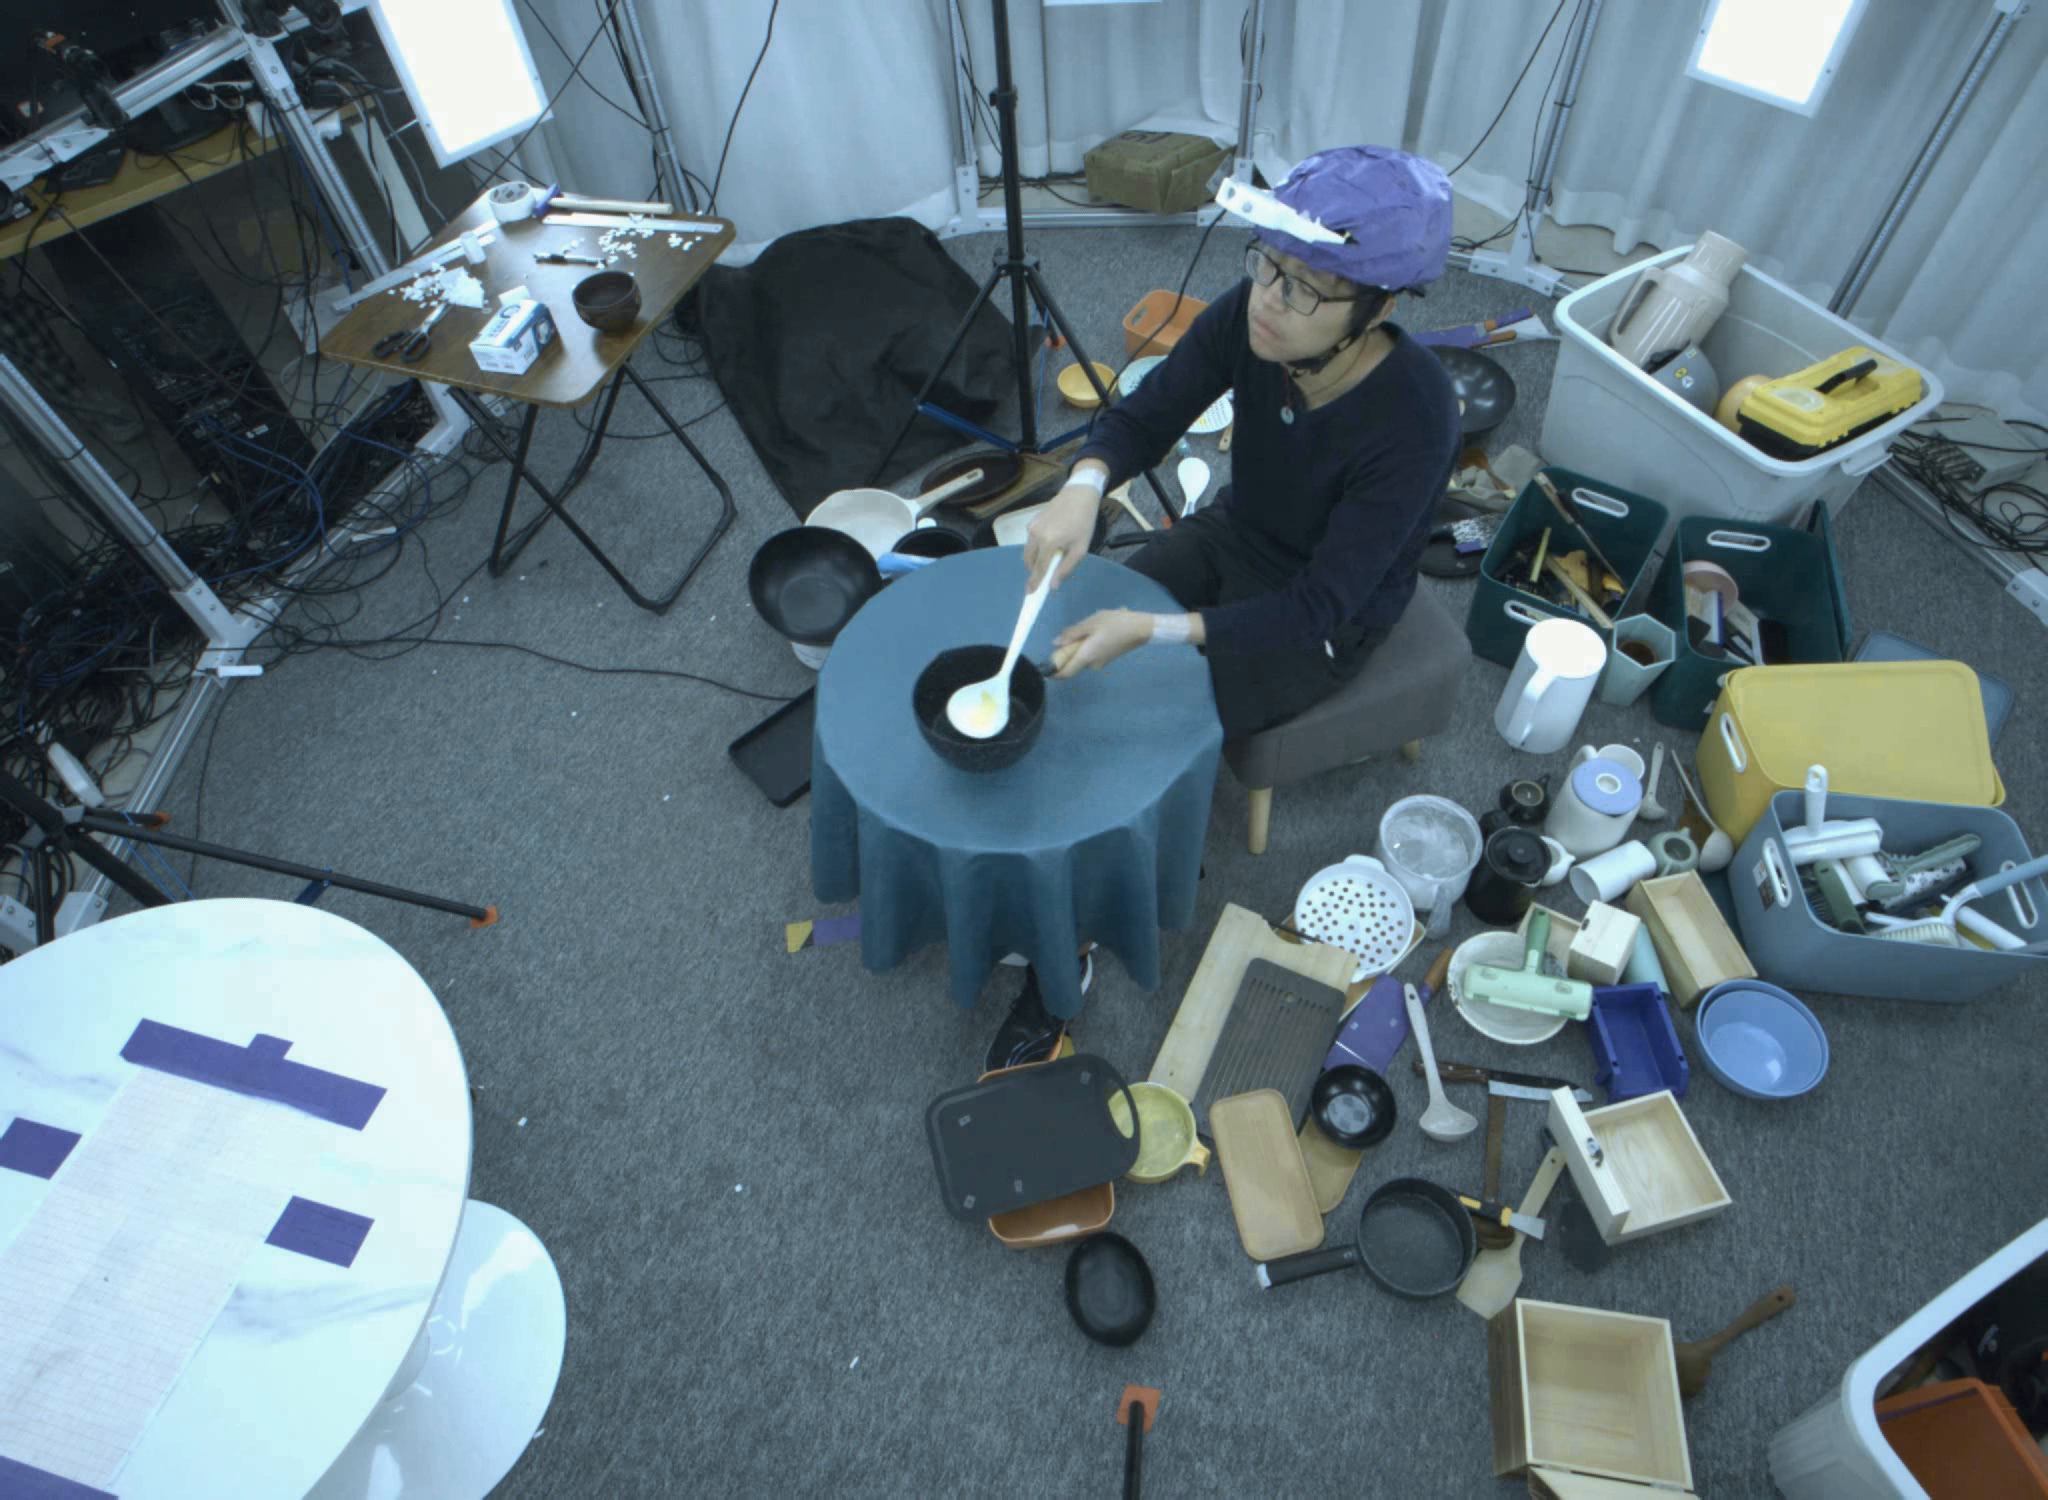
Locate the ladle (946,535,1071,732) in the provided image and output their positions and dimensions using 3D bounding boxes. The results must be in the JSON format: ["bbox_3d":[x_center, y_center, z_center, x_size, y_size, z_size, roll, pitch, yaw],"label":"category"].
[{"bbox_3d":[-0.019,-0.160,1.693,0.088,0.293,0.071,34,21,27],"label":"ladle"}]

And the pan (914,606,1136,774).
[{"bbox_3d":[0.011,-0.095,1.722,0.345,0.109,0.203,-29,56,-18],"label":"pan"}]
